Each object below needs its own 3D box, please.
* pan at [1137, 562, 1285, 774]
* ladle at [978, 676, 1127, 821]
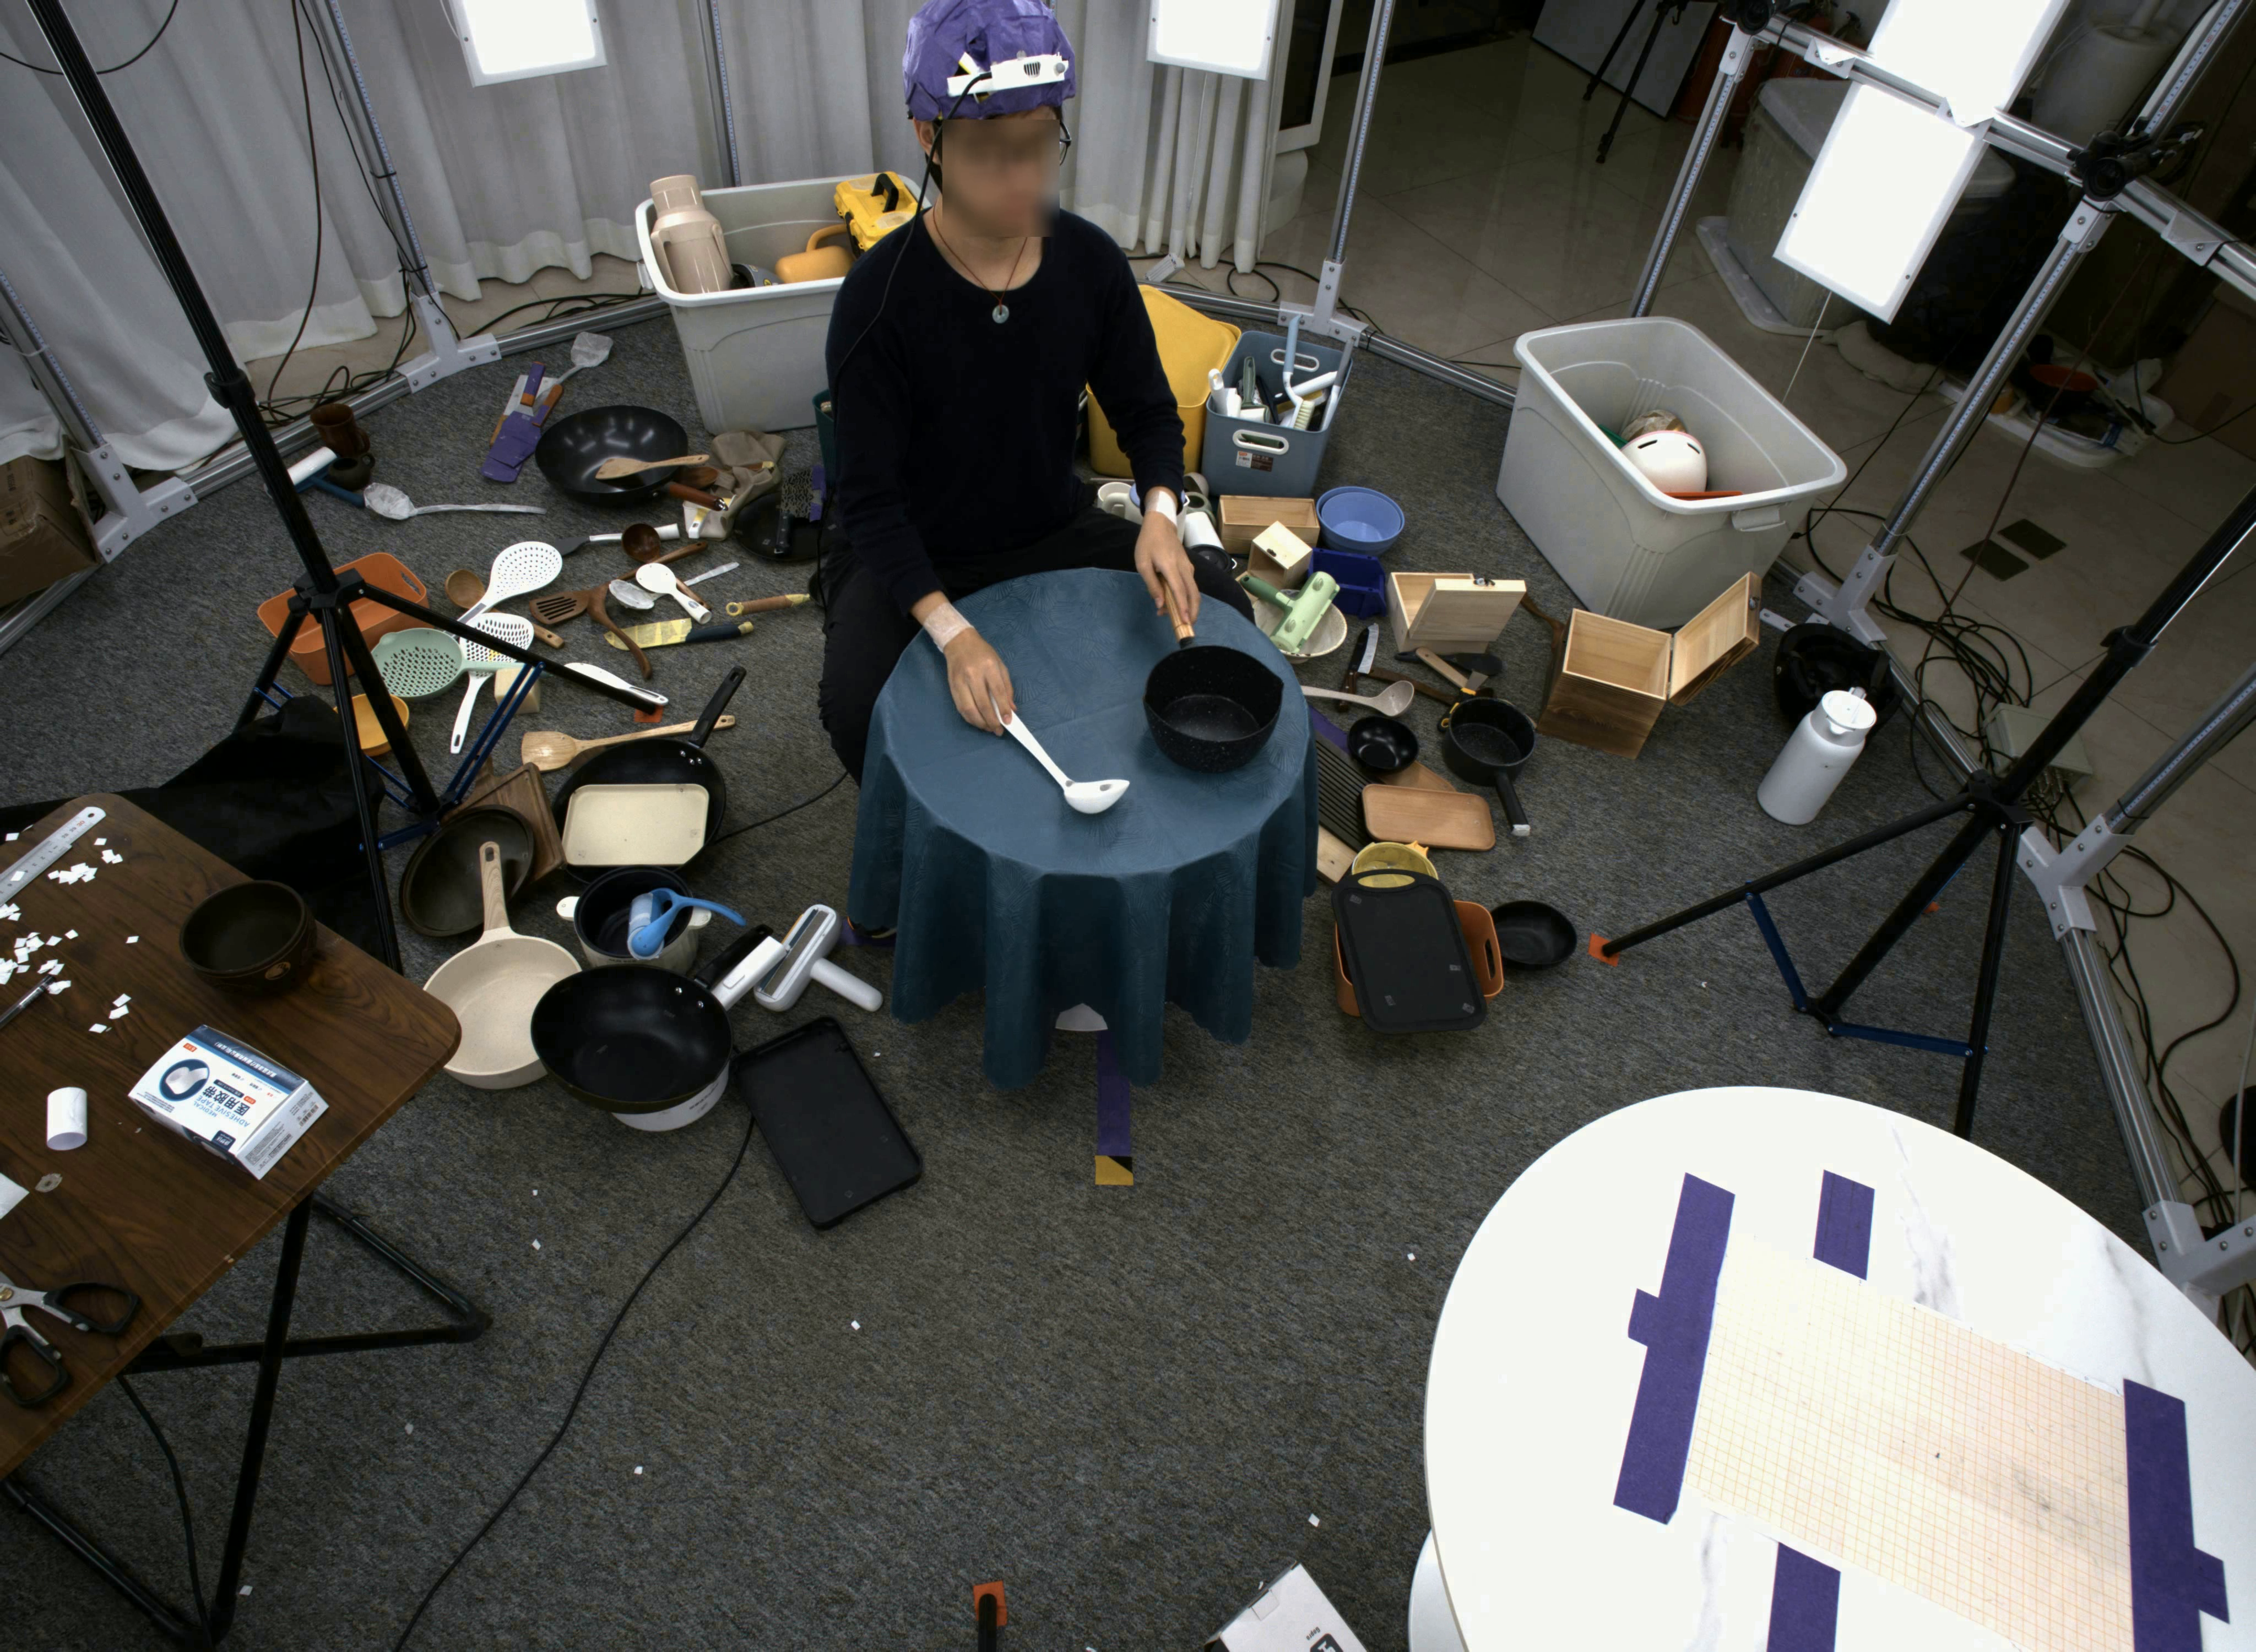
[{"bbox_3d":[0.091,-0.222,1.798,0.207,0.105,0.351,-11,52,-12],"label":"pan"},{"bbox_3d":[-0.111,-0.112,1.716,0.090,0.068,0.298,-19,55,-32],"label":"ladle"}]
